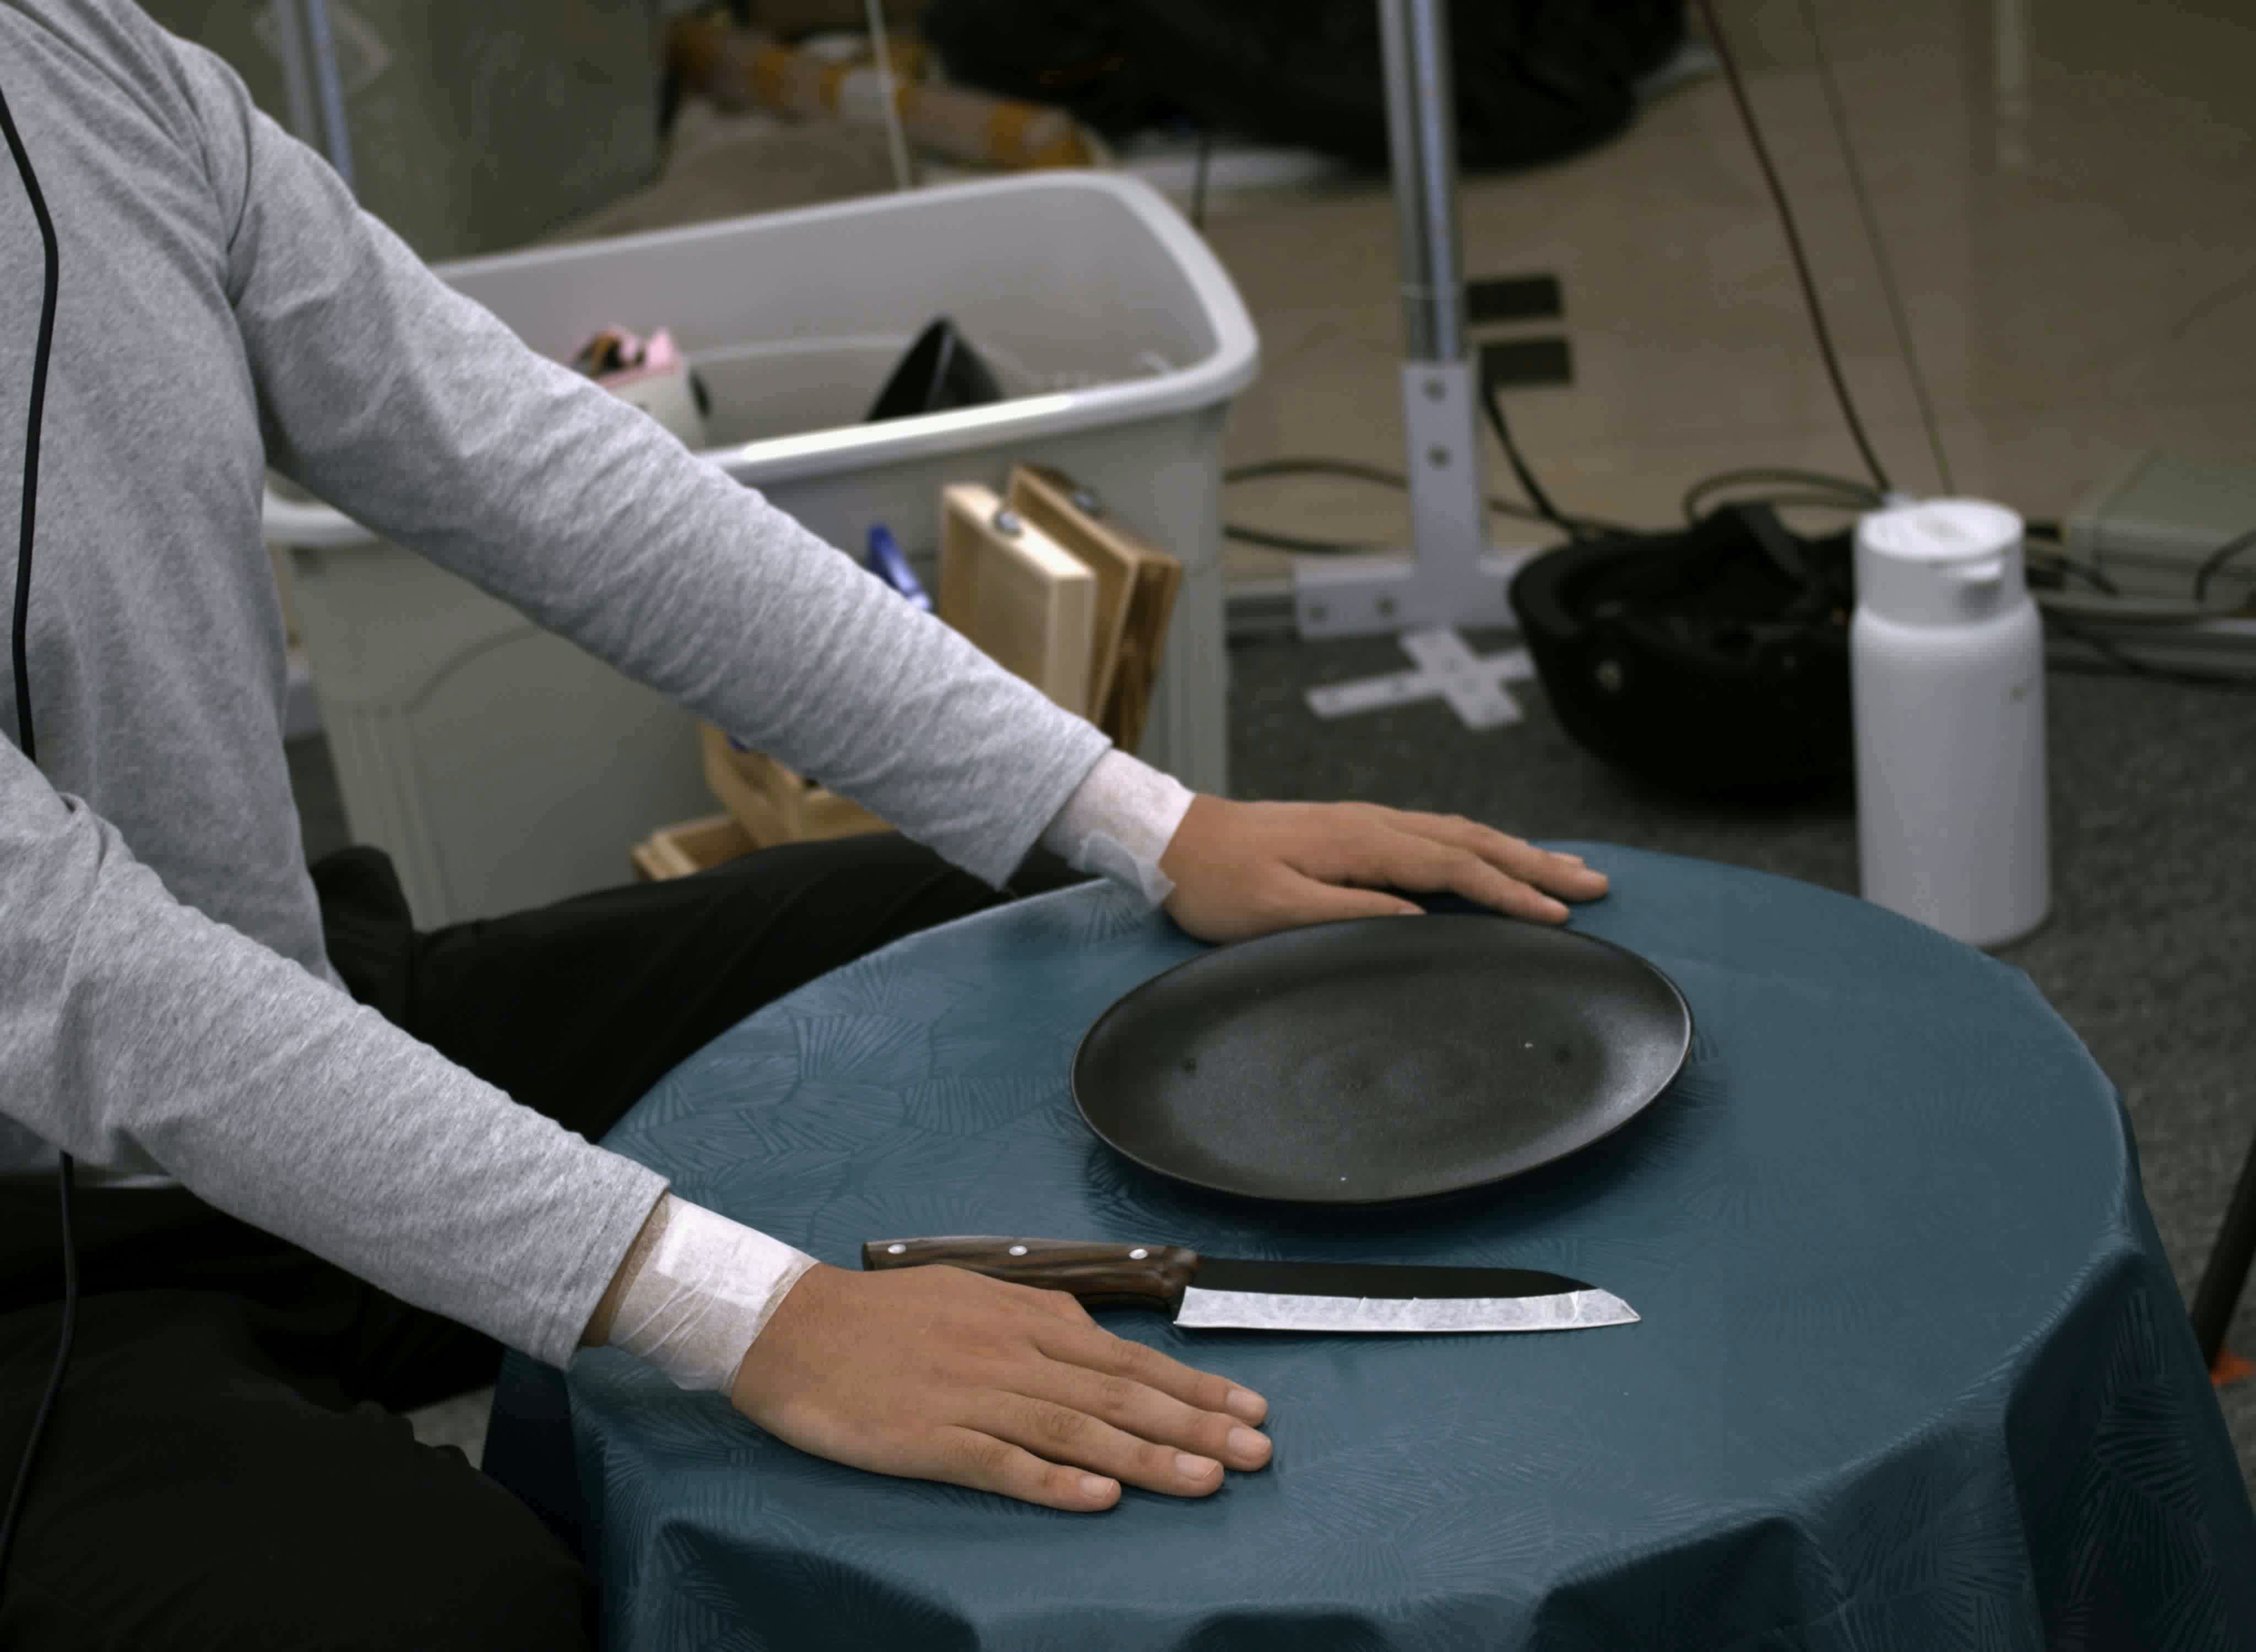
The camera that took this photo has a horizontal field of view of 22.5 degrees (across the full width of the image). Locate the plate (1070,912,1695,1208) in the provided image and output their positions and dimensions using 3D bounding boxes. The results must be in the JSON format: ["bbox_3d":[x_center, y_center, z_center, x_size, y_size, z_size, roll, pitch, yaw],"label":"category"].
[{"bbox_3d":[0.098,0.095,2.195,0.244,0.024,0.241,-6,25,3],"label":"plate"}]

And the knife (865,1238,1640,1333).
[{"bbox_3d":[0.043,0.169,2.059,0.288,0.020,0.049,2,31,12],"label":"knife"}]
